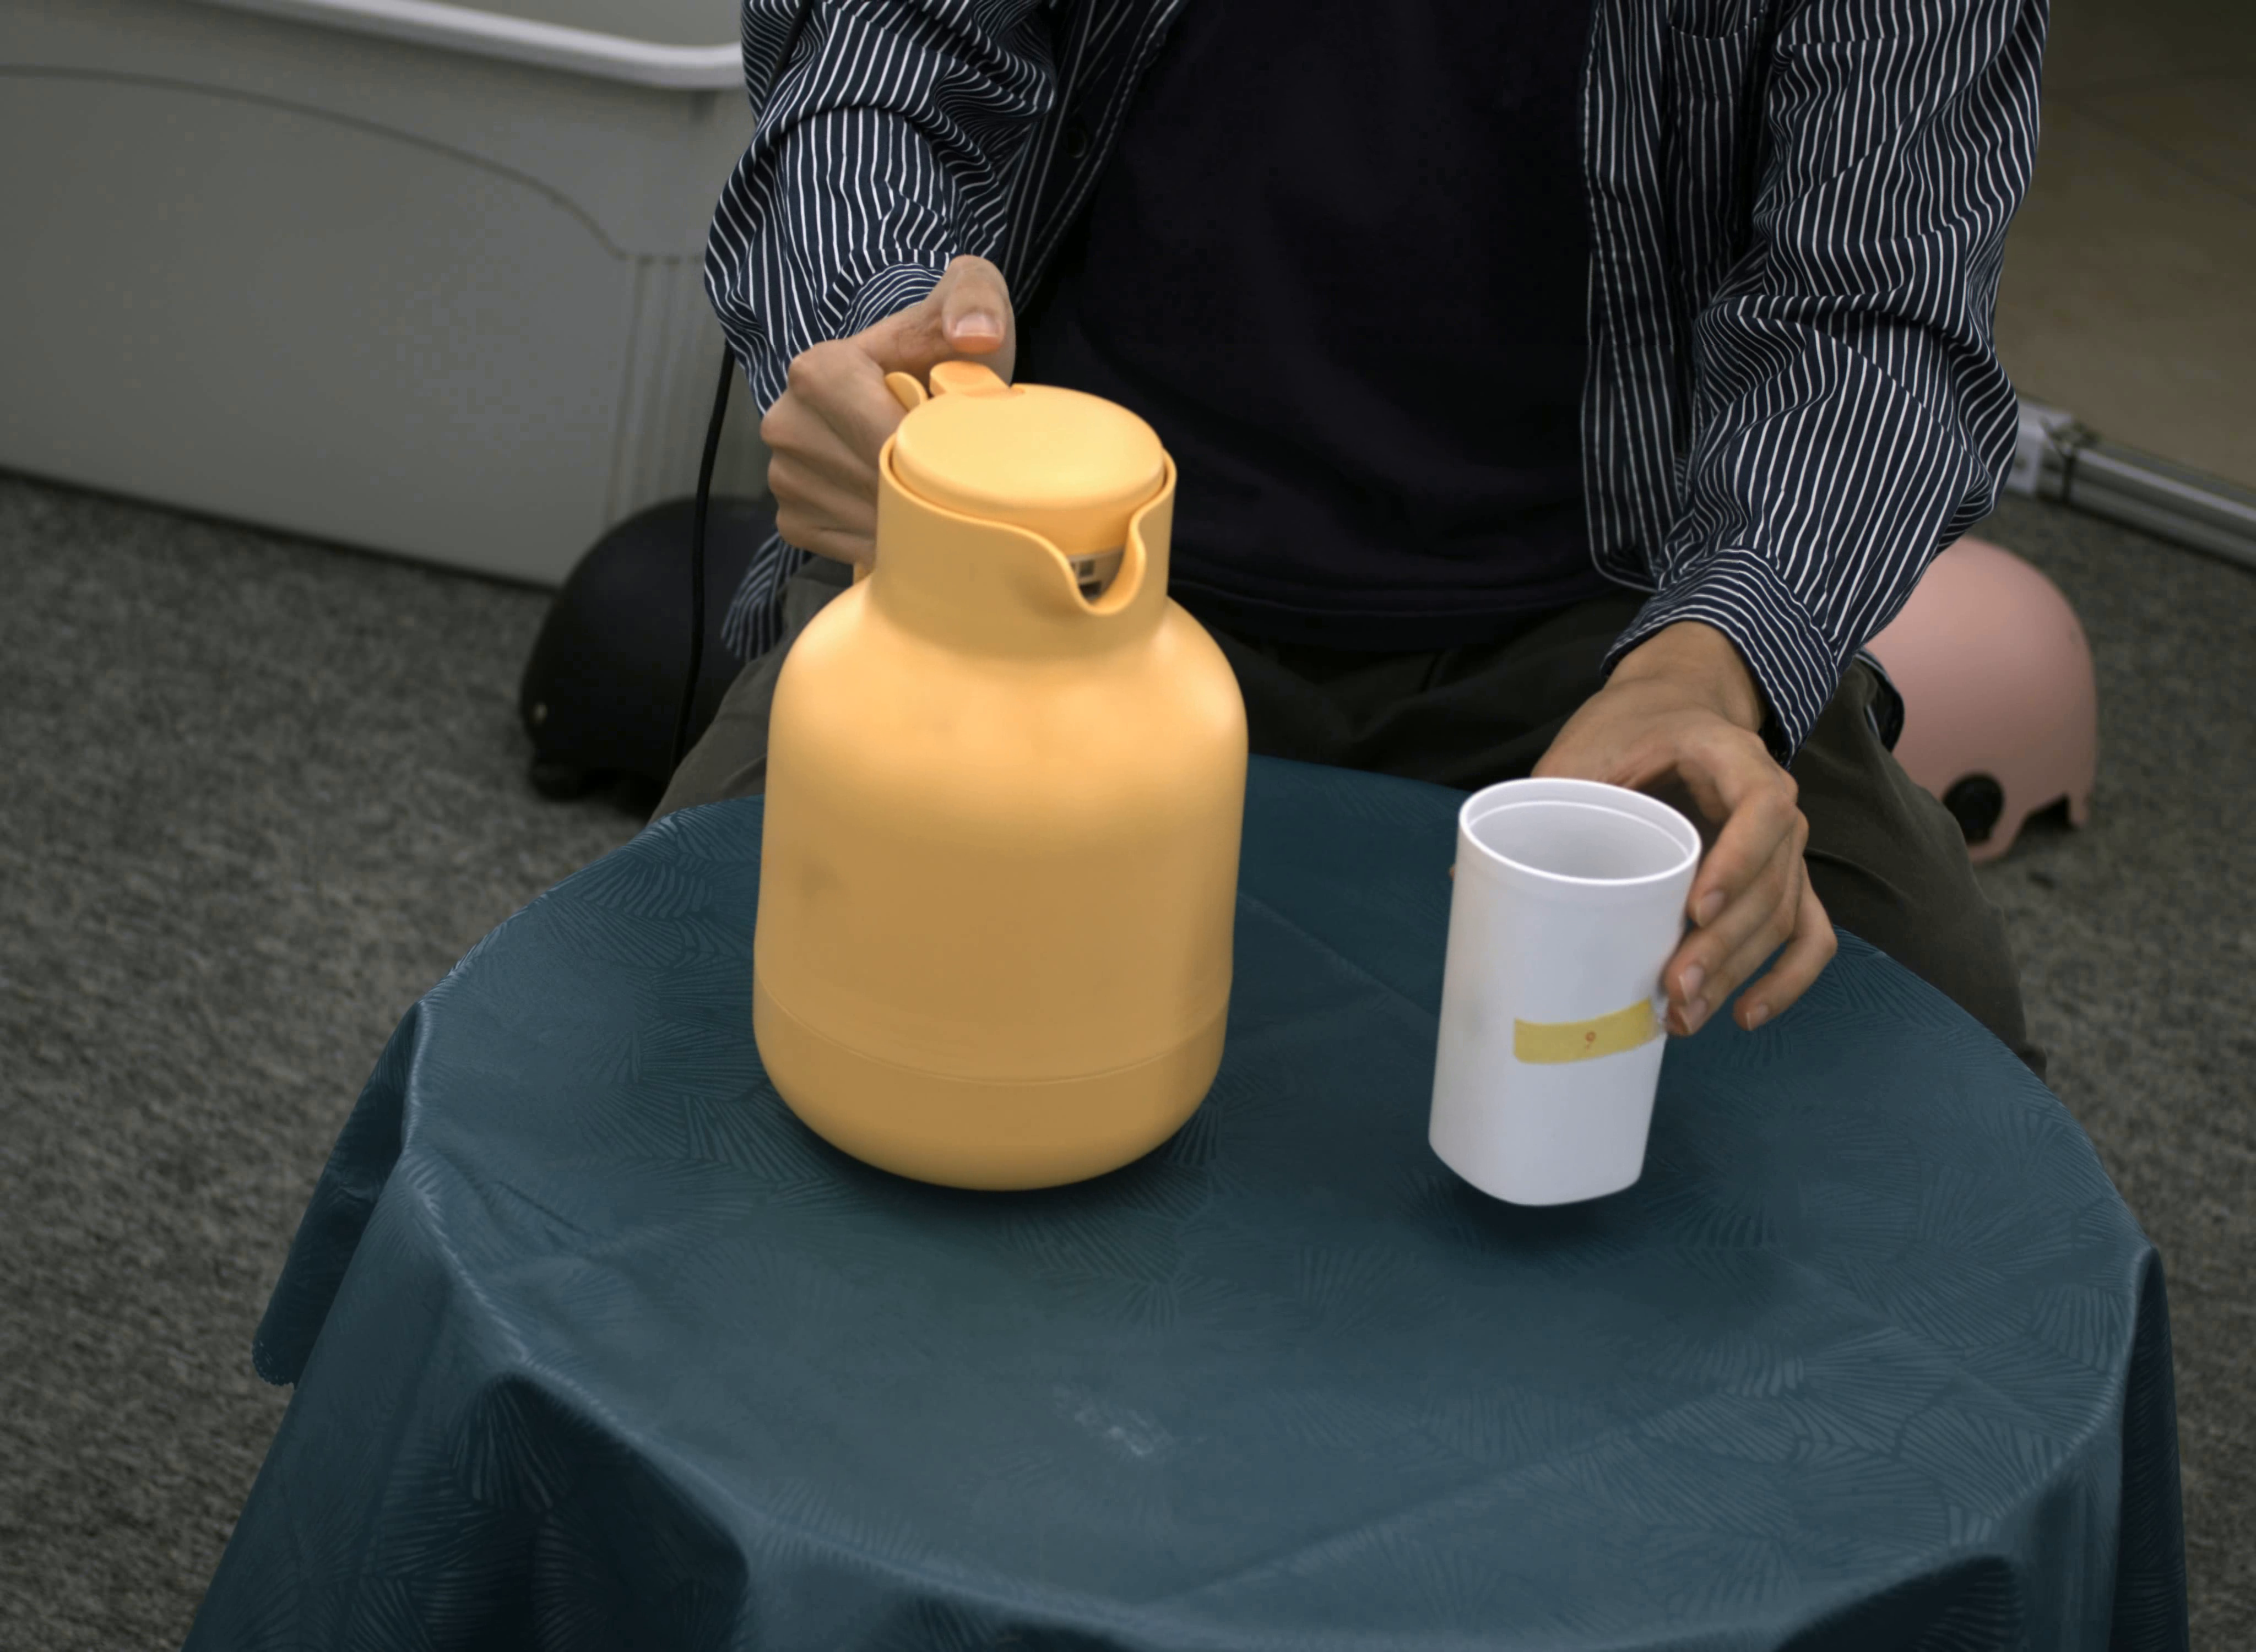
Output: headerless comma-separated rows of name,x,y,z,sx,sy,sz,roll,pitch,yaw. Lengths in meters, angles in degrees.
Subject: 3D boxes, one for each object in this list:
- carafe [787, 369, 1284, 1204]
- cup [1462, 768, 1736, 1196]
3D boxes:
carafe,-0.036,-0.023,1.789,0.162,0.259,0.204,-8,30,-24
cup,0.156,0.054,1.787,0.081,0.125,0.082,5,23,-2
